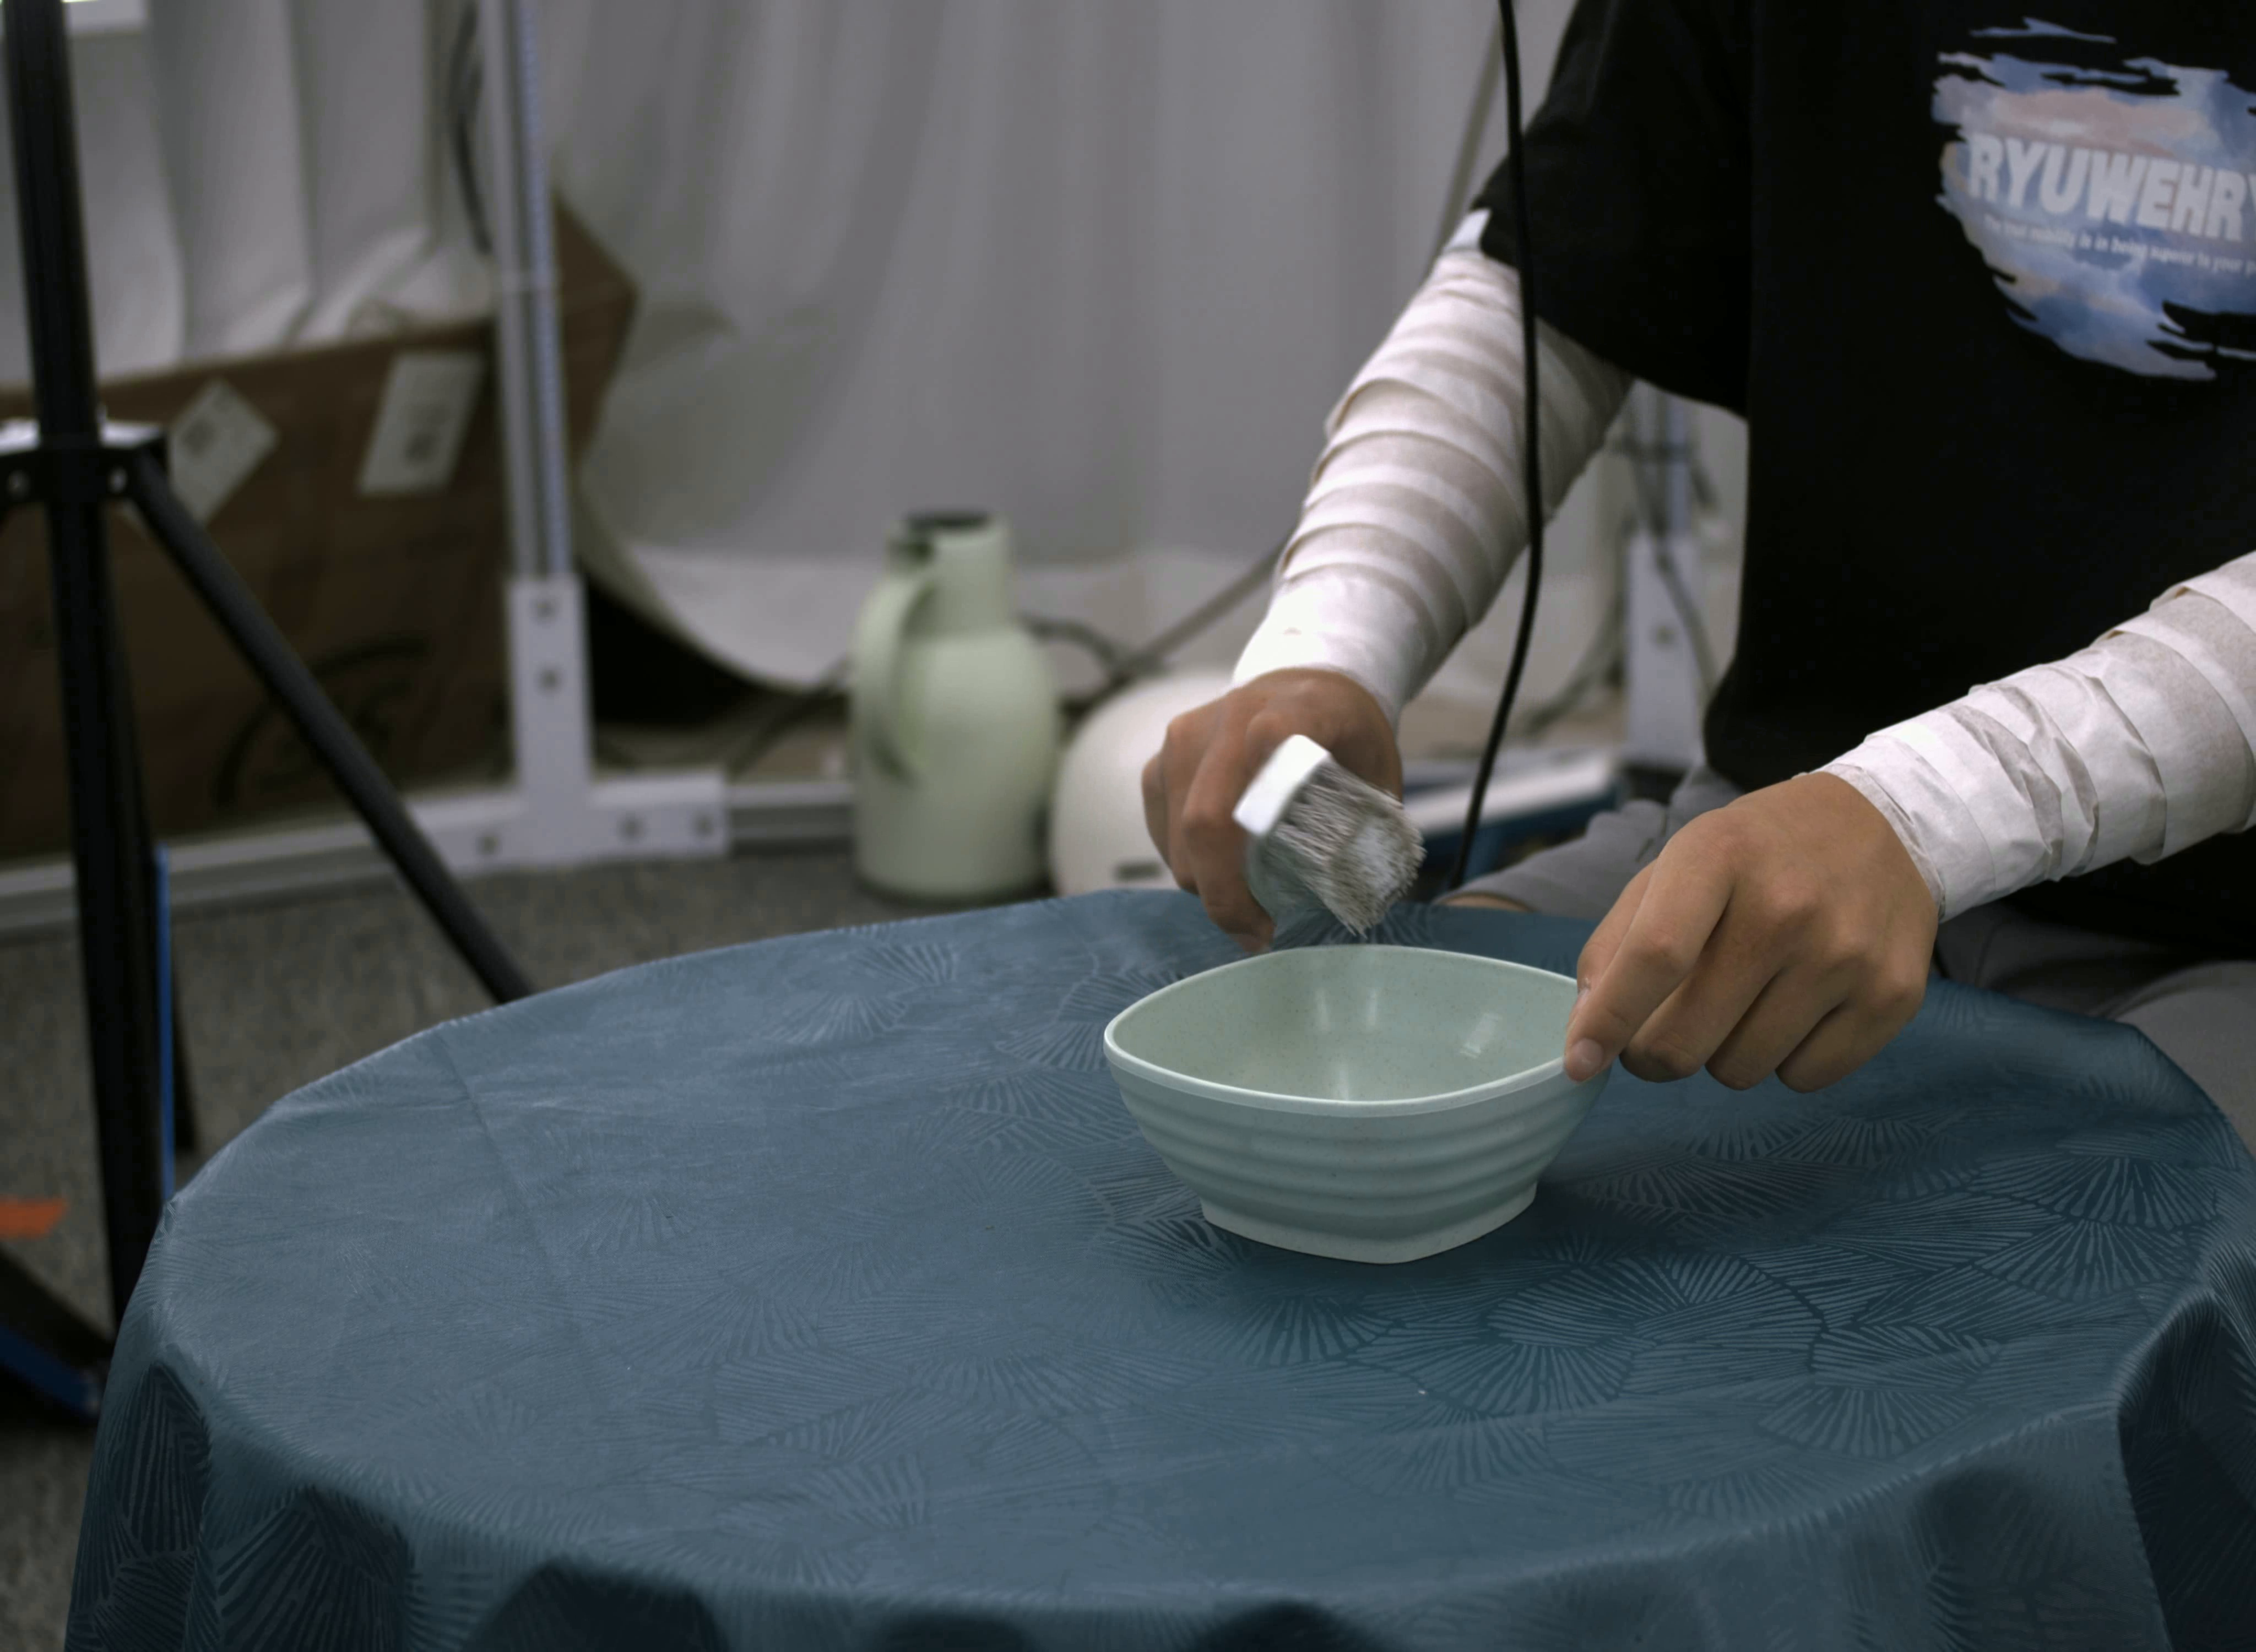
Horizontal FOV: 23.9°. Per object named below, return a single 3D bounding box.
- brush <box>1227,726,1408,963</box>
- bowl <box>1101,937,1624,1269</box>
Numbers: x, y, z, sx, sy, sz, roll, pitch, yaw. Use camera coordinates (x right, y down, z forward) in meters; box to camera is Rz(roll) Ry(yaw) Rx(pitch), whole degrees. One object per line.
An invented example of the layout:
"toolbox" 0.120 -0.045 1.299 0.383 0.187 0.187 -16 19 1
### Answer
"brush" 0.058 0.021 1.657 0.050 0.034 0.242 34 -11 9
"bowl" 0.068 0.083 1.532 0.150 0.058 0.152 -2 17 -1
